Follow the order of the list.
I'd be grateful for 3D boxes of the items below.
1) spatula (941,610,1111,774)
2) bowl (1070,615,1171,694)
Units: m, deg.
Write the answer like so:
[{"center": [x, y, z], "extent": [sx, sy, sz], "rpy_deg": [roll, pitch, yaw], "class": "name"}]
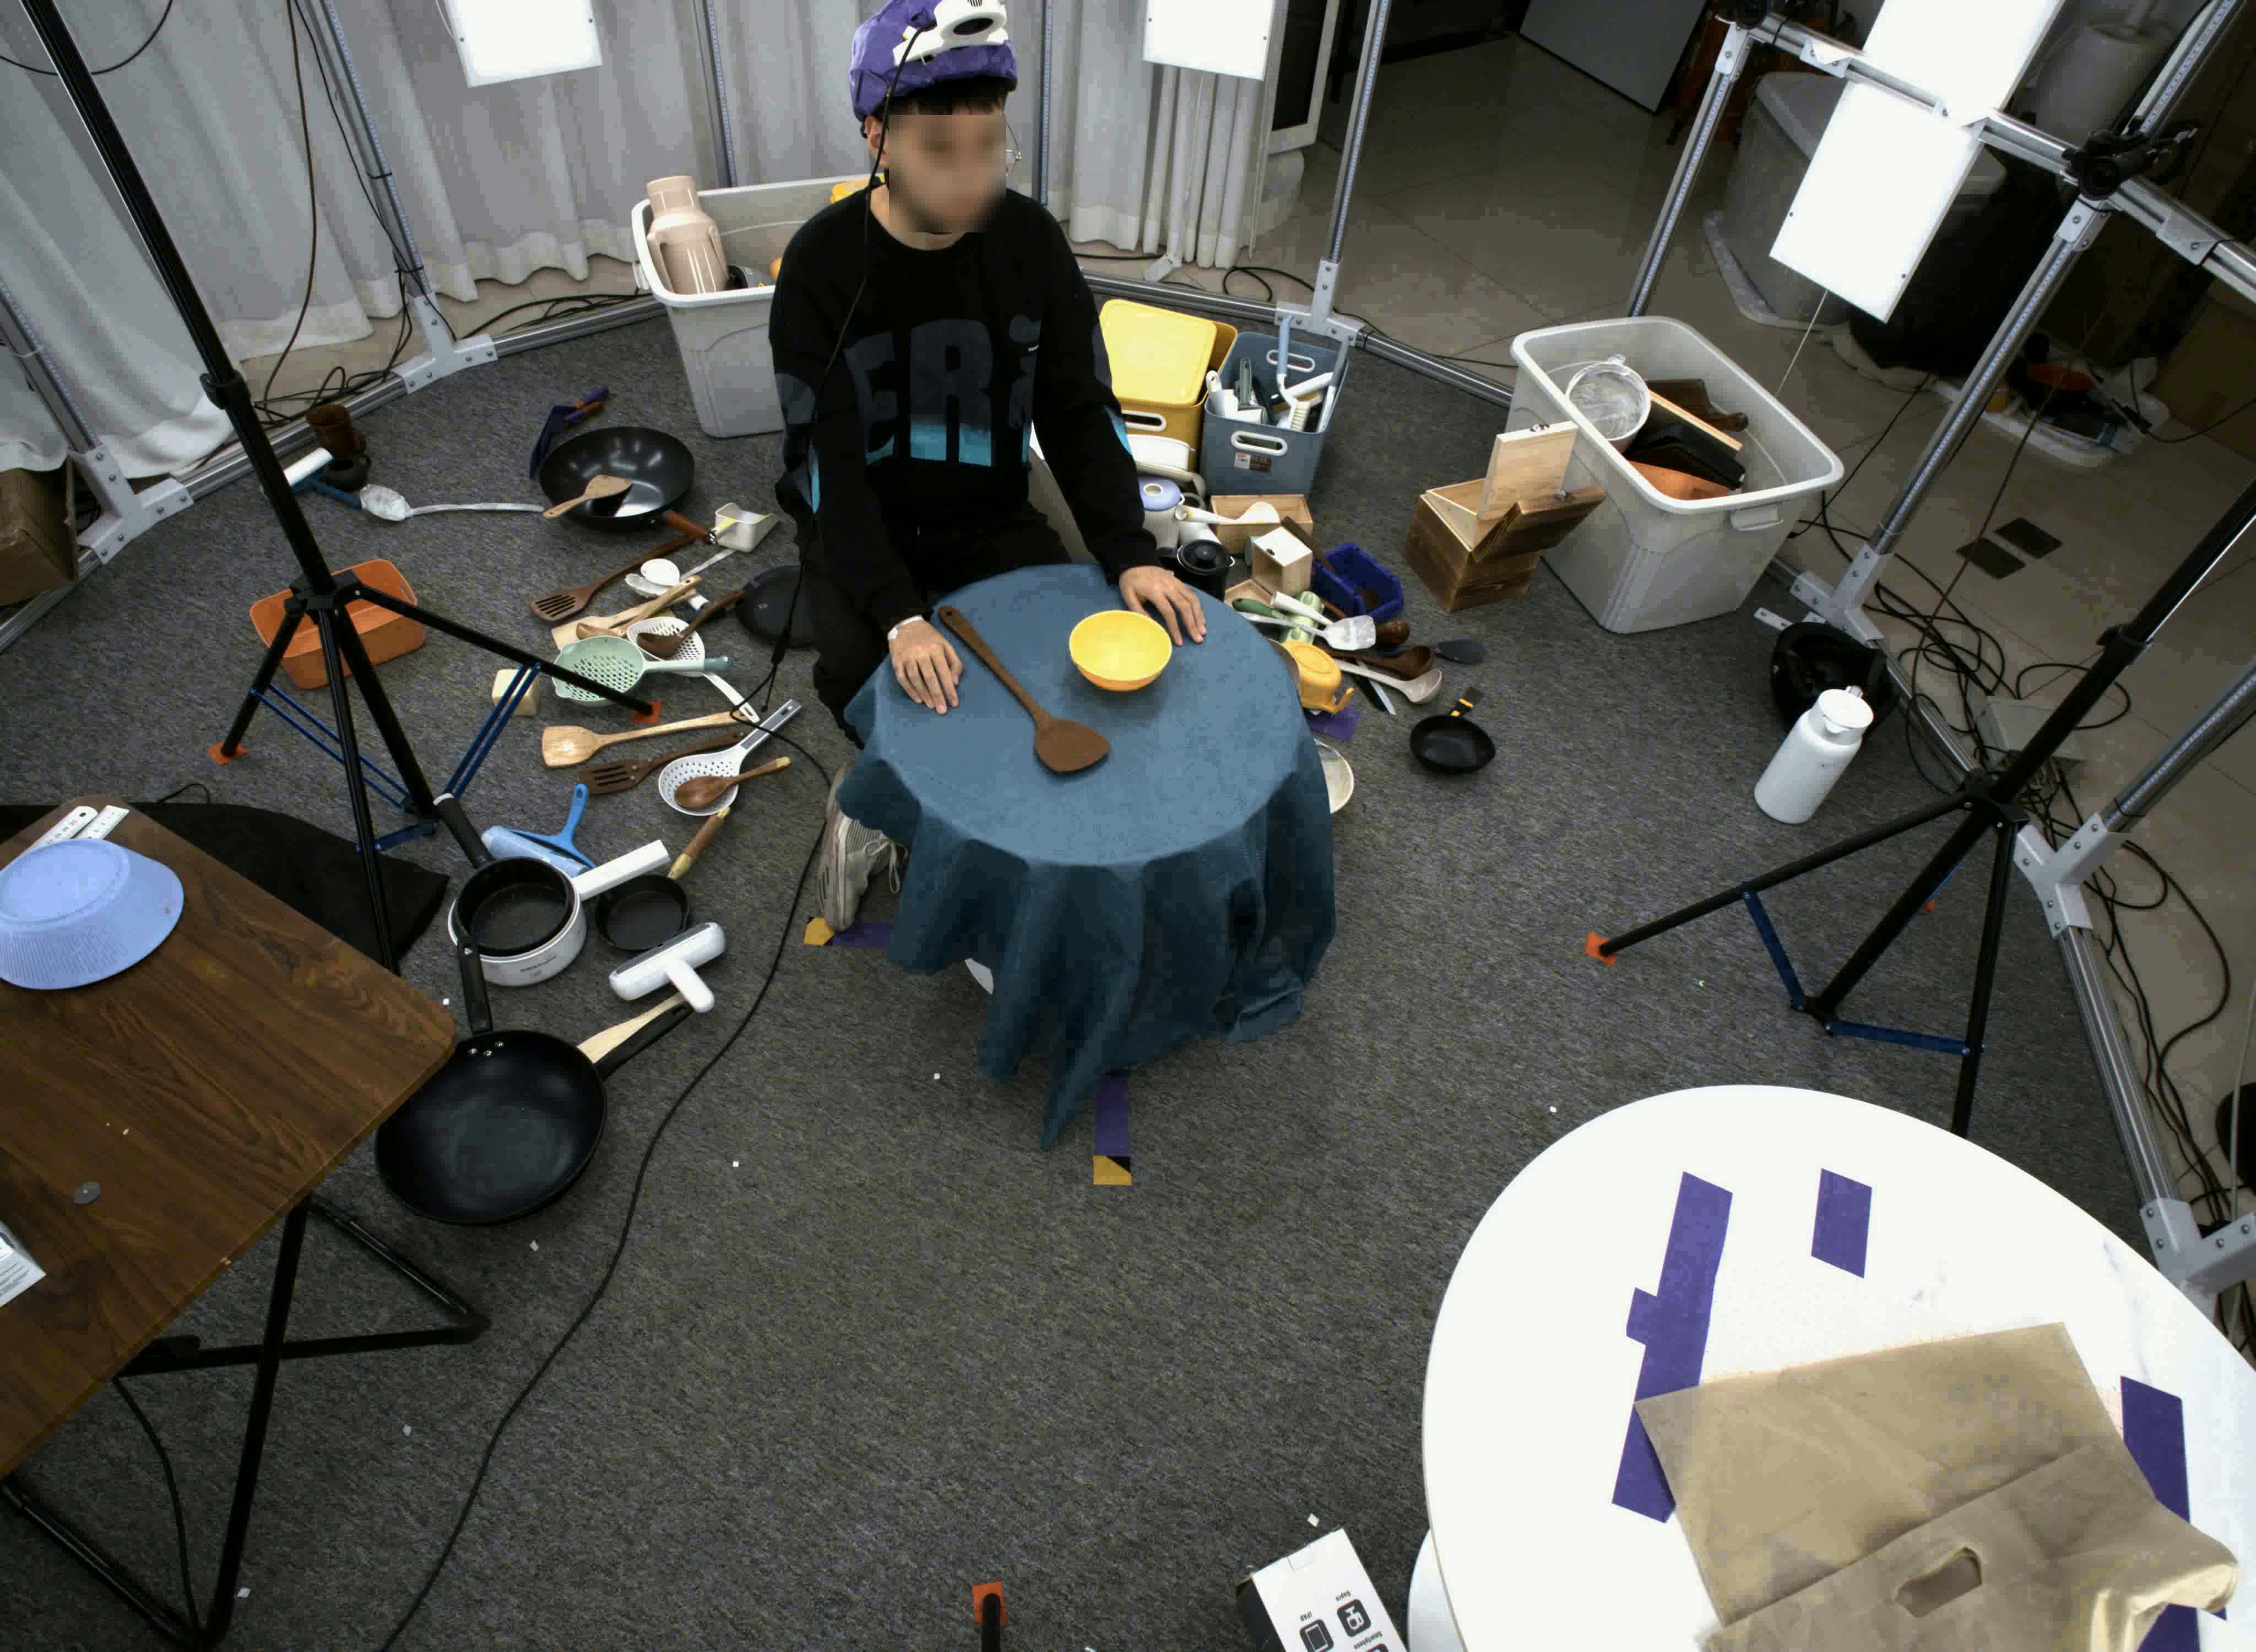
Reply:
[{"center": [-0.164, -0.203, 1.841], "extent": [0.096, 0.015, 0.393], "rpy_deg": [-26, 55, -25], "class": "spatula"}, {"center": [-0.013, -0.236, 1.854], "extent": [0.145, 0.058, 0.149], "rpy_deg": [3, 47, -4], "class": "bowl"}]
